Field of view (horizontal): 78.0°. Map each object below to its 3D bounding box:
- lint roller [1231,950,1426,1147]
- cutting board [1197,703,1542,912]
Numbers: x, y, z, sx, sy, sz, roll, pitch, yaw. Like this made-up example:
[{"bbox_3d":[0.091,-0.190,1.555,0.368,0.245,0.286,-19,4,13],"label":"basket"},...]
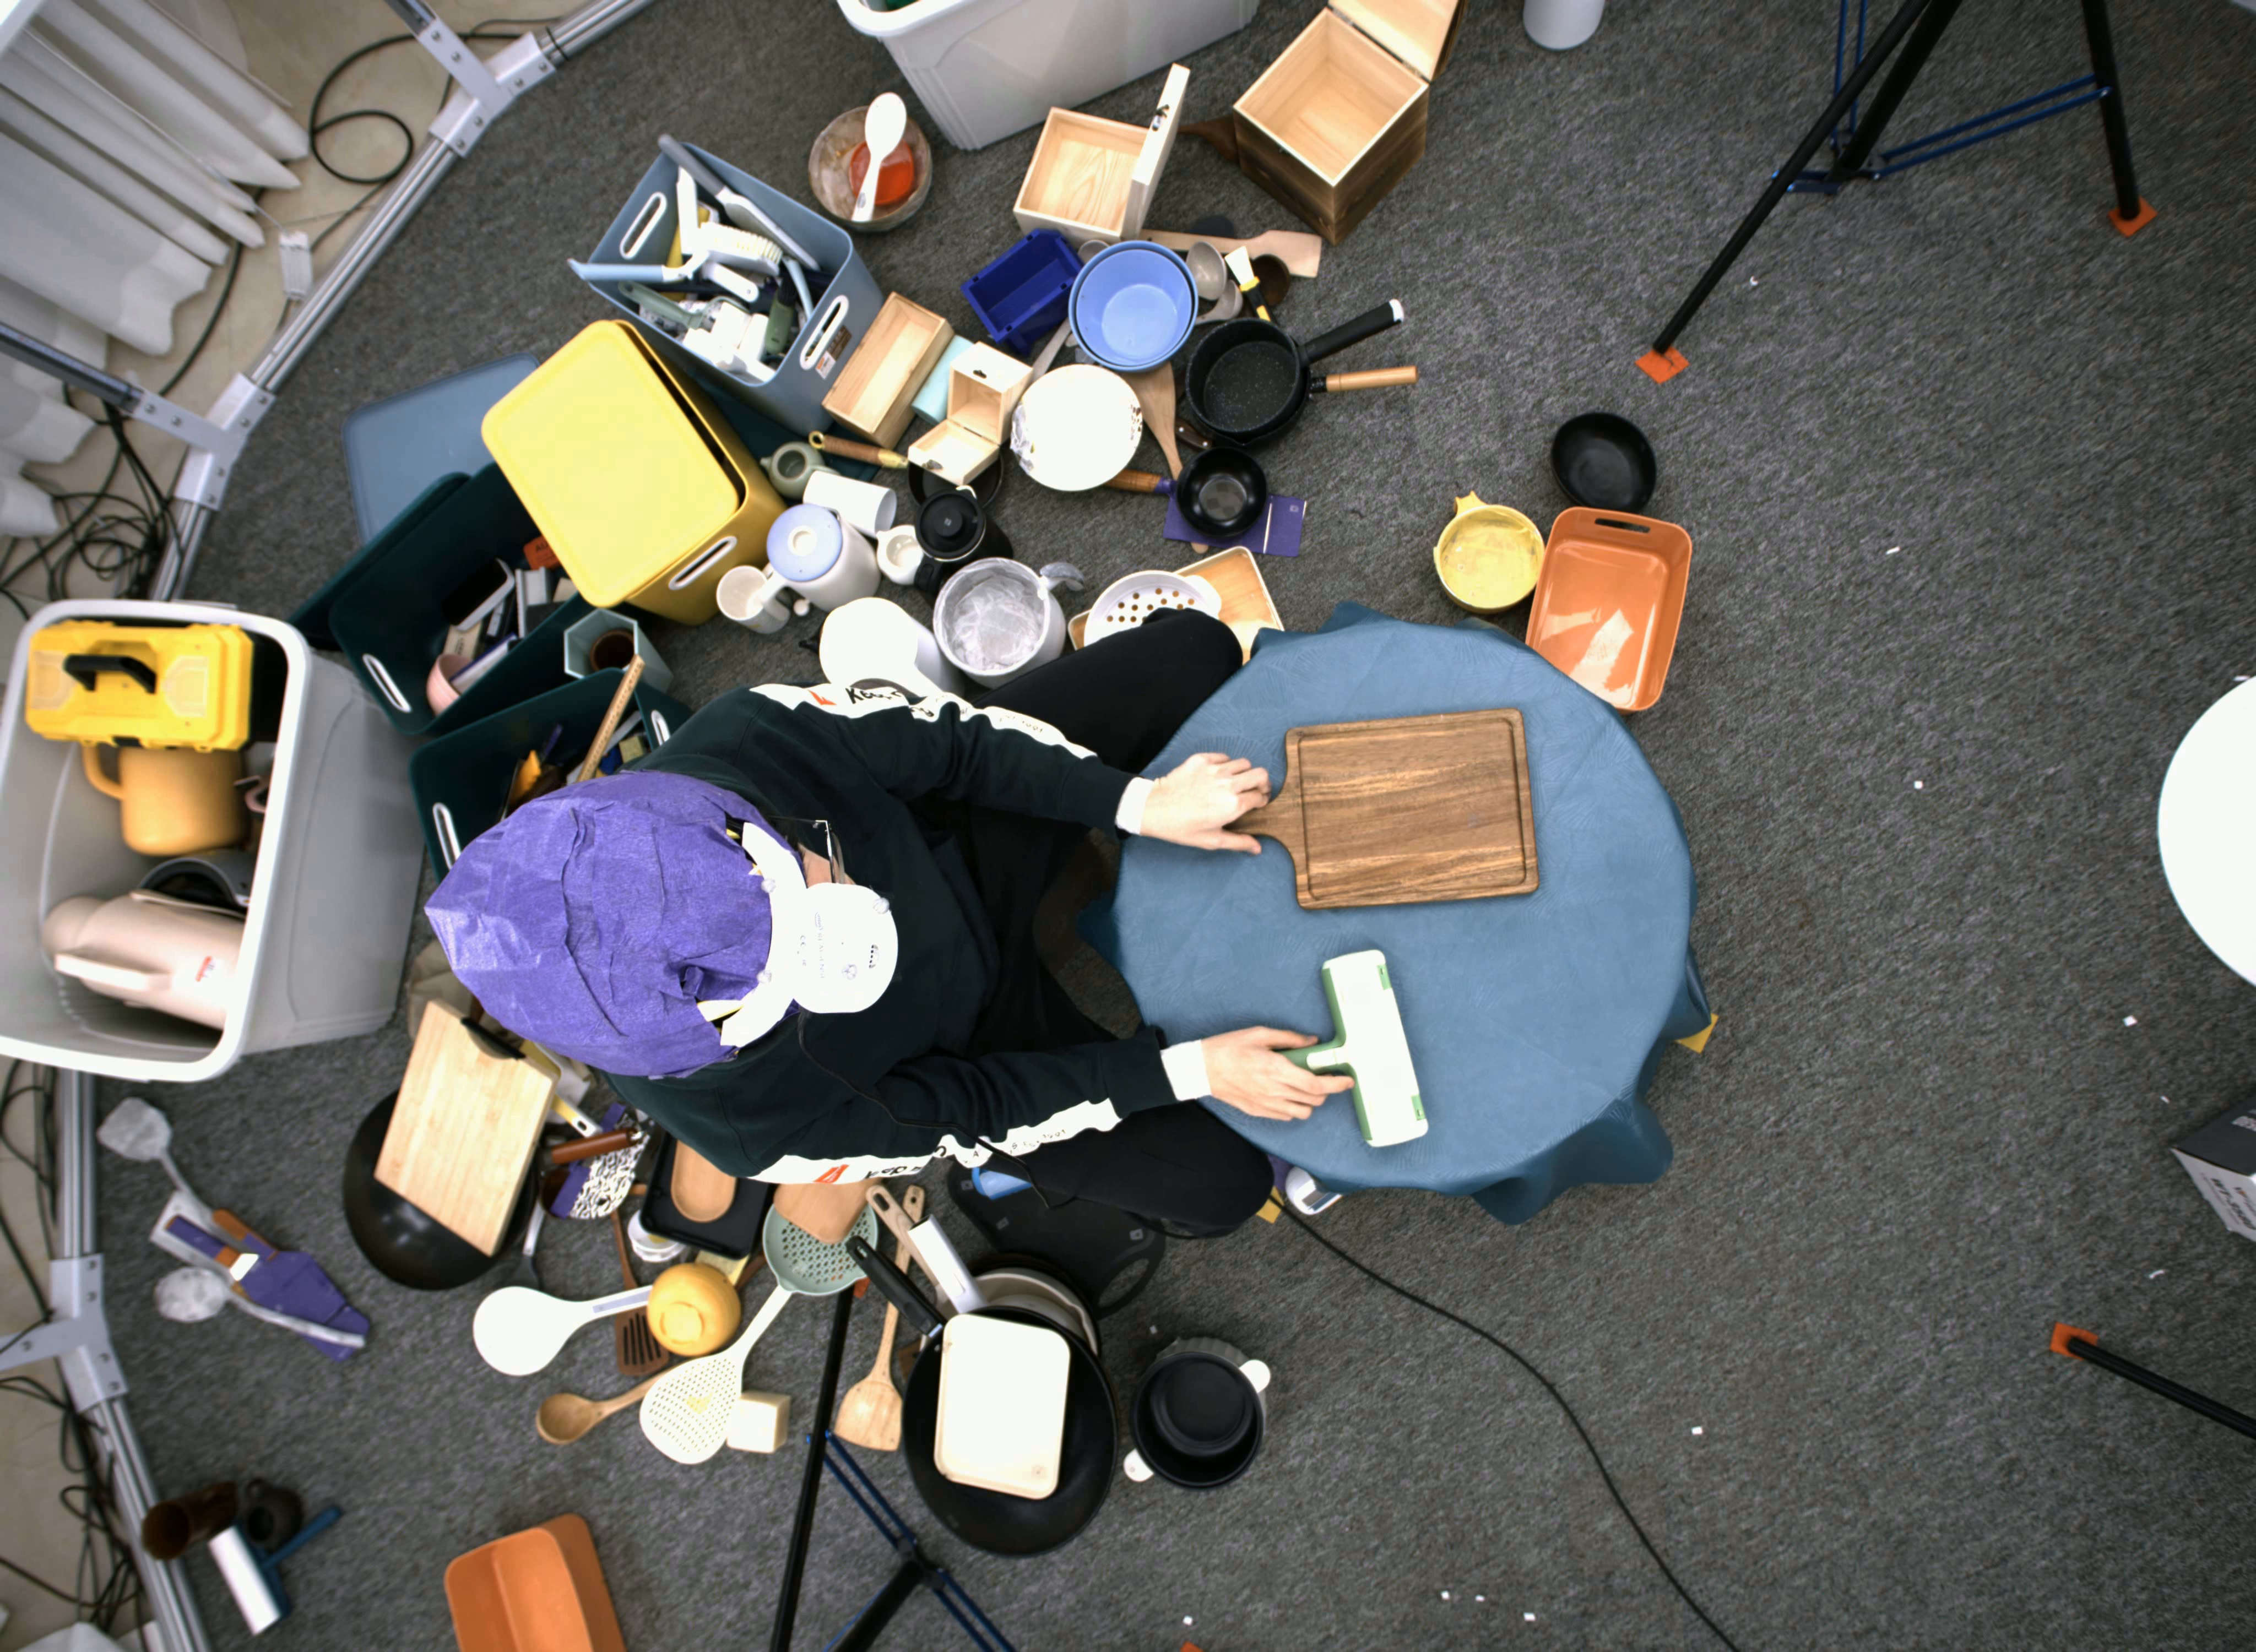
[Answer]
[{"bbox_3d":[0.194,0.239,1.422,0.184,0.082,0.197,-14,85,5],"label":"lint roller"},{"bbox_3d":[0.247,-0.015,1.454,0.354,0.023,0.200,-5,86,10],"label":"cutting board"}]
